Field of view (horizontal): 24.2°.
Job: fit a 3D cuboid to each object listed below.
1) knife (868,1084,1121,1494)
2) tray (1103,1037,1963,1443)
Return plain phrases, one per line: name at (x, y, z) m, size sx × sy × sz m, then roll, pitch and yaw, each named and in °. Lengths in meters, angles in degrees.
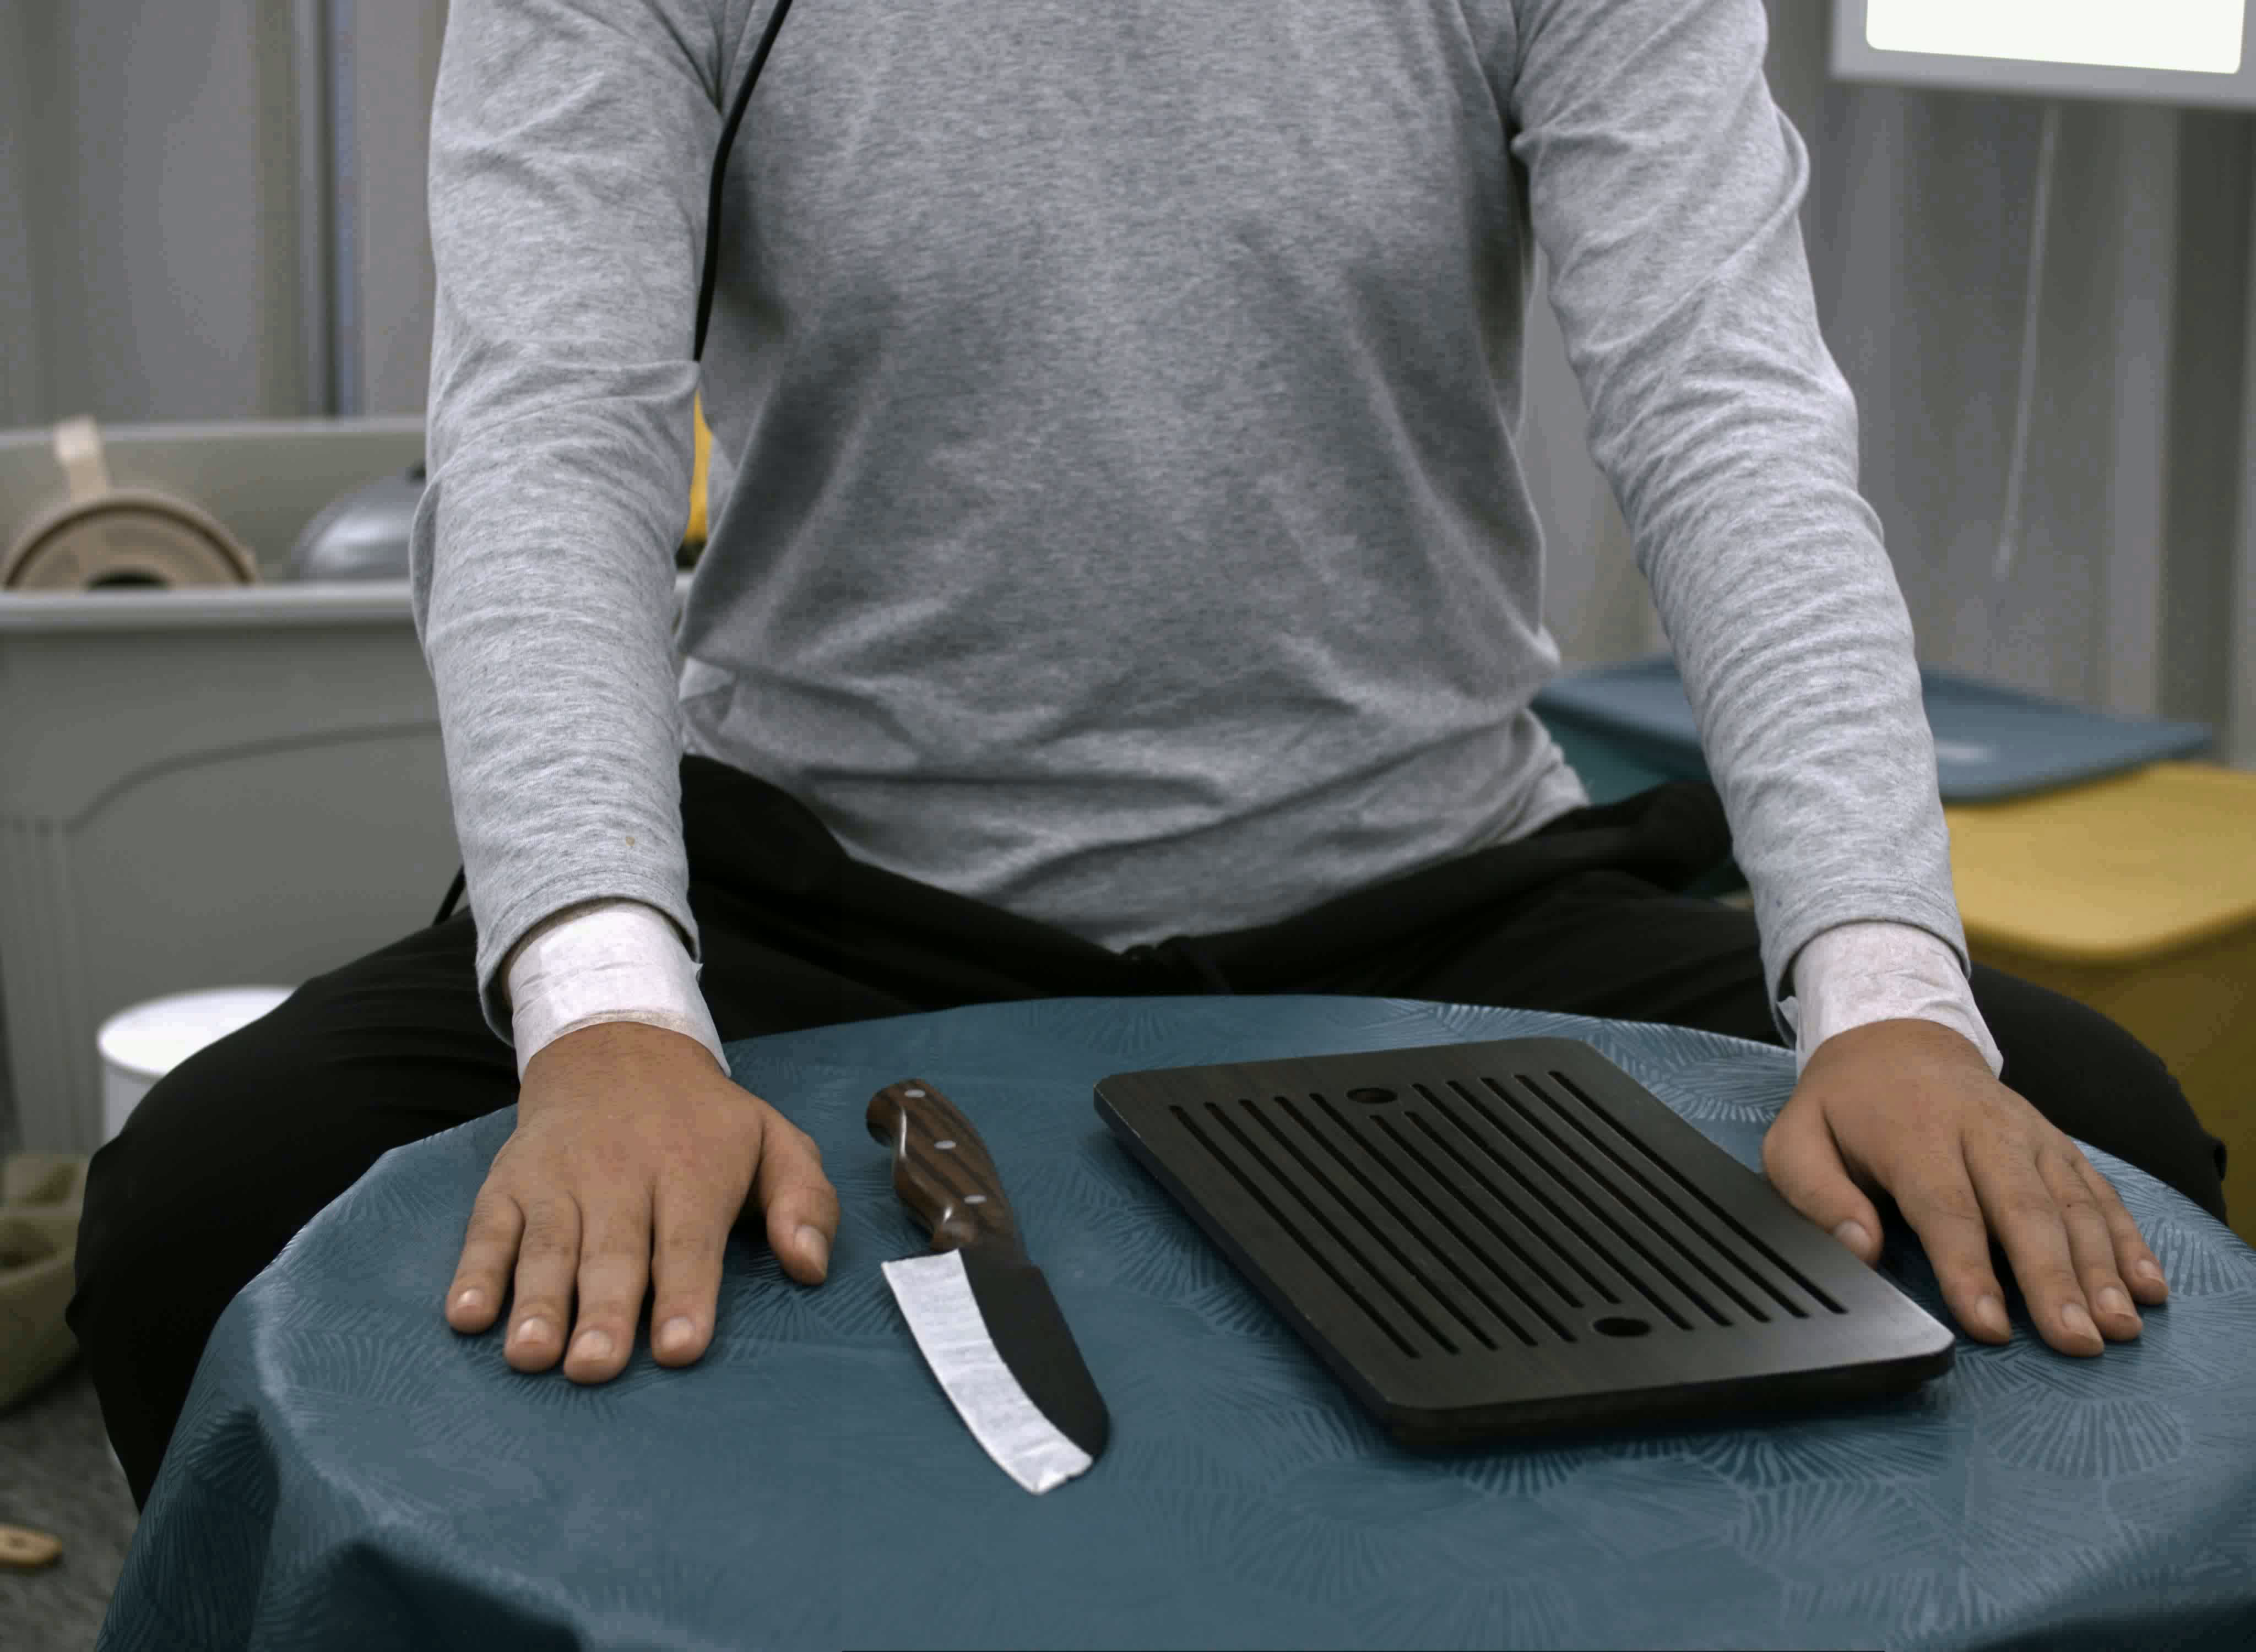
knife at (-0.044, 0.132, 1.524) m, size 0.050 × 0.020 × 0.286 m, roll -7°, pitch 19°, yaw -8°
tray at (0.112, 0.119, 1.571) m, size 0.170 × 0.019 × 0.303 m, roll -4°, pitch 16°, yaw -16°
